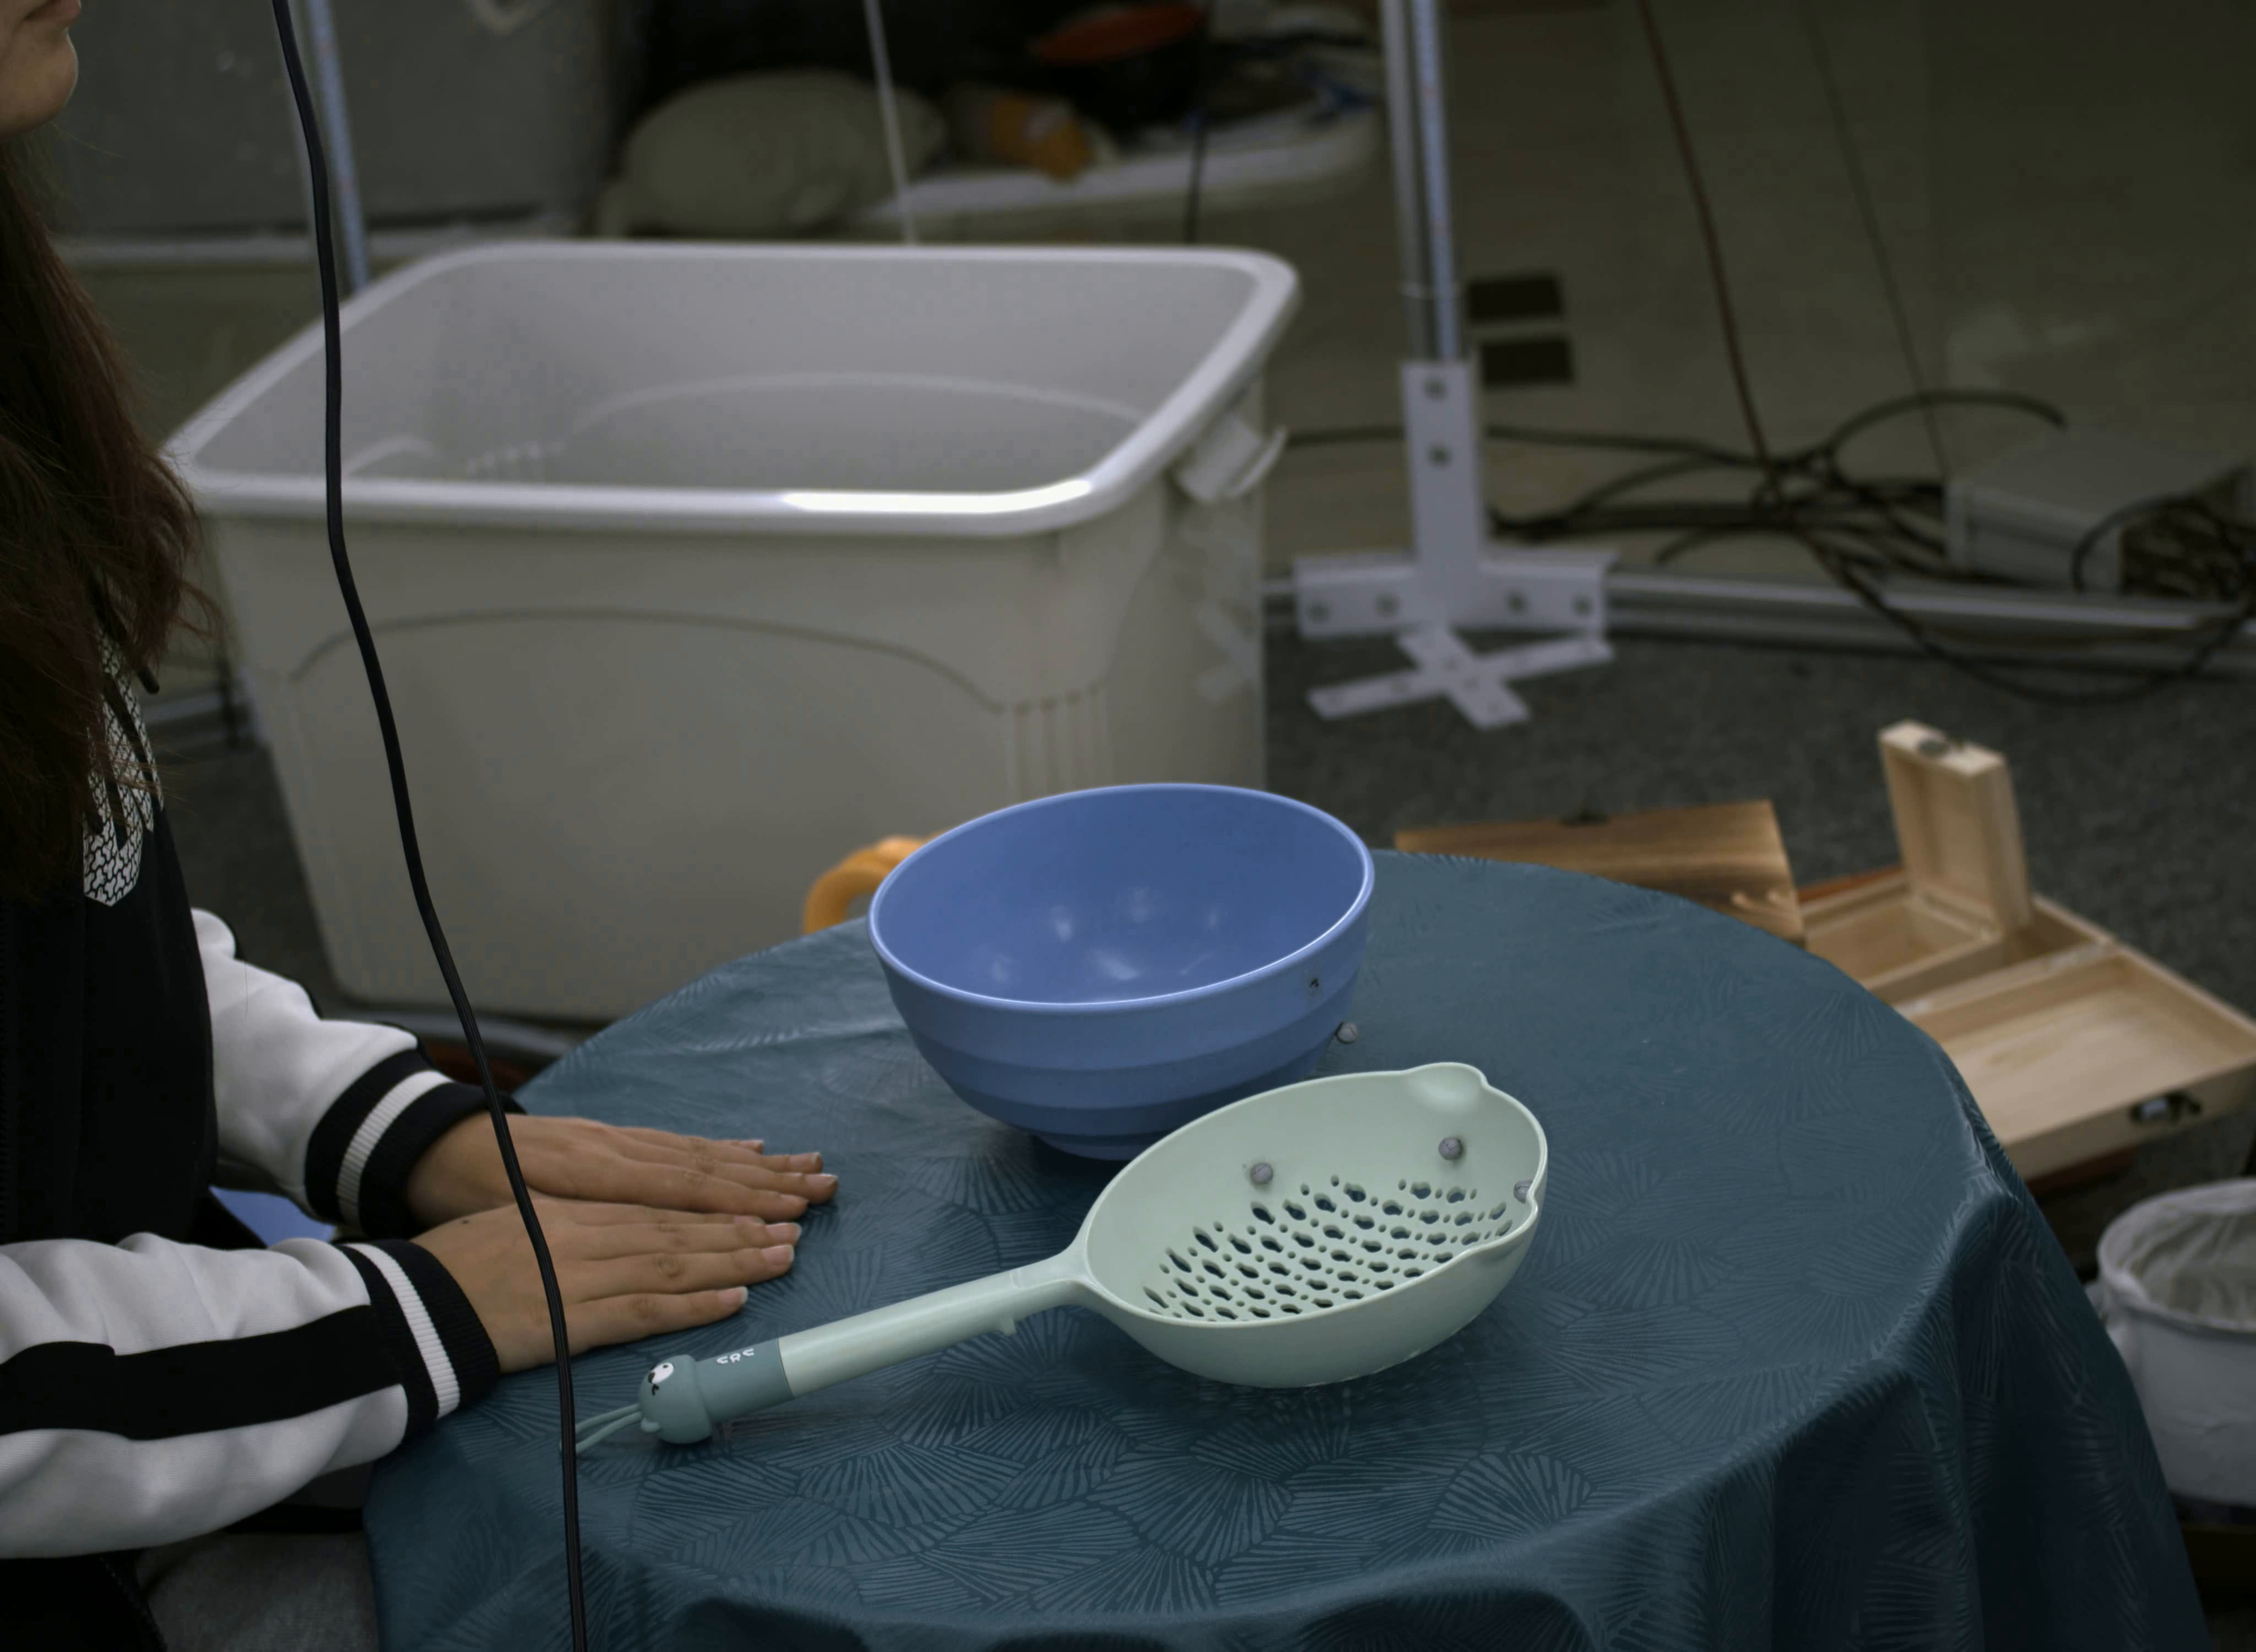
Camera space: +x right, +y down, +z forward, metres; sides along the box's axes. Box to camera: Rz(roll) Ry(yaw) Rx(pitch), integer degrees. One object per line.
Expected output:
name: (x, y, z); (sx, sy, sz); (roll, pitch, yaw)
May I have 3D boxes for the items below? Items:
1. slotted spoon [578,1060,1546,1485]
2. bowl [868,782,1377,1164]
slotted spoon: (-0.025, 0.170, 2.018); (0.358, 0.076, 0.167); (-10, 24, -2)
bowl: (0.003, 0.067, 2.189); (0.196, 0.097, 0.193); (-6, 26, 3)
